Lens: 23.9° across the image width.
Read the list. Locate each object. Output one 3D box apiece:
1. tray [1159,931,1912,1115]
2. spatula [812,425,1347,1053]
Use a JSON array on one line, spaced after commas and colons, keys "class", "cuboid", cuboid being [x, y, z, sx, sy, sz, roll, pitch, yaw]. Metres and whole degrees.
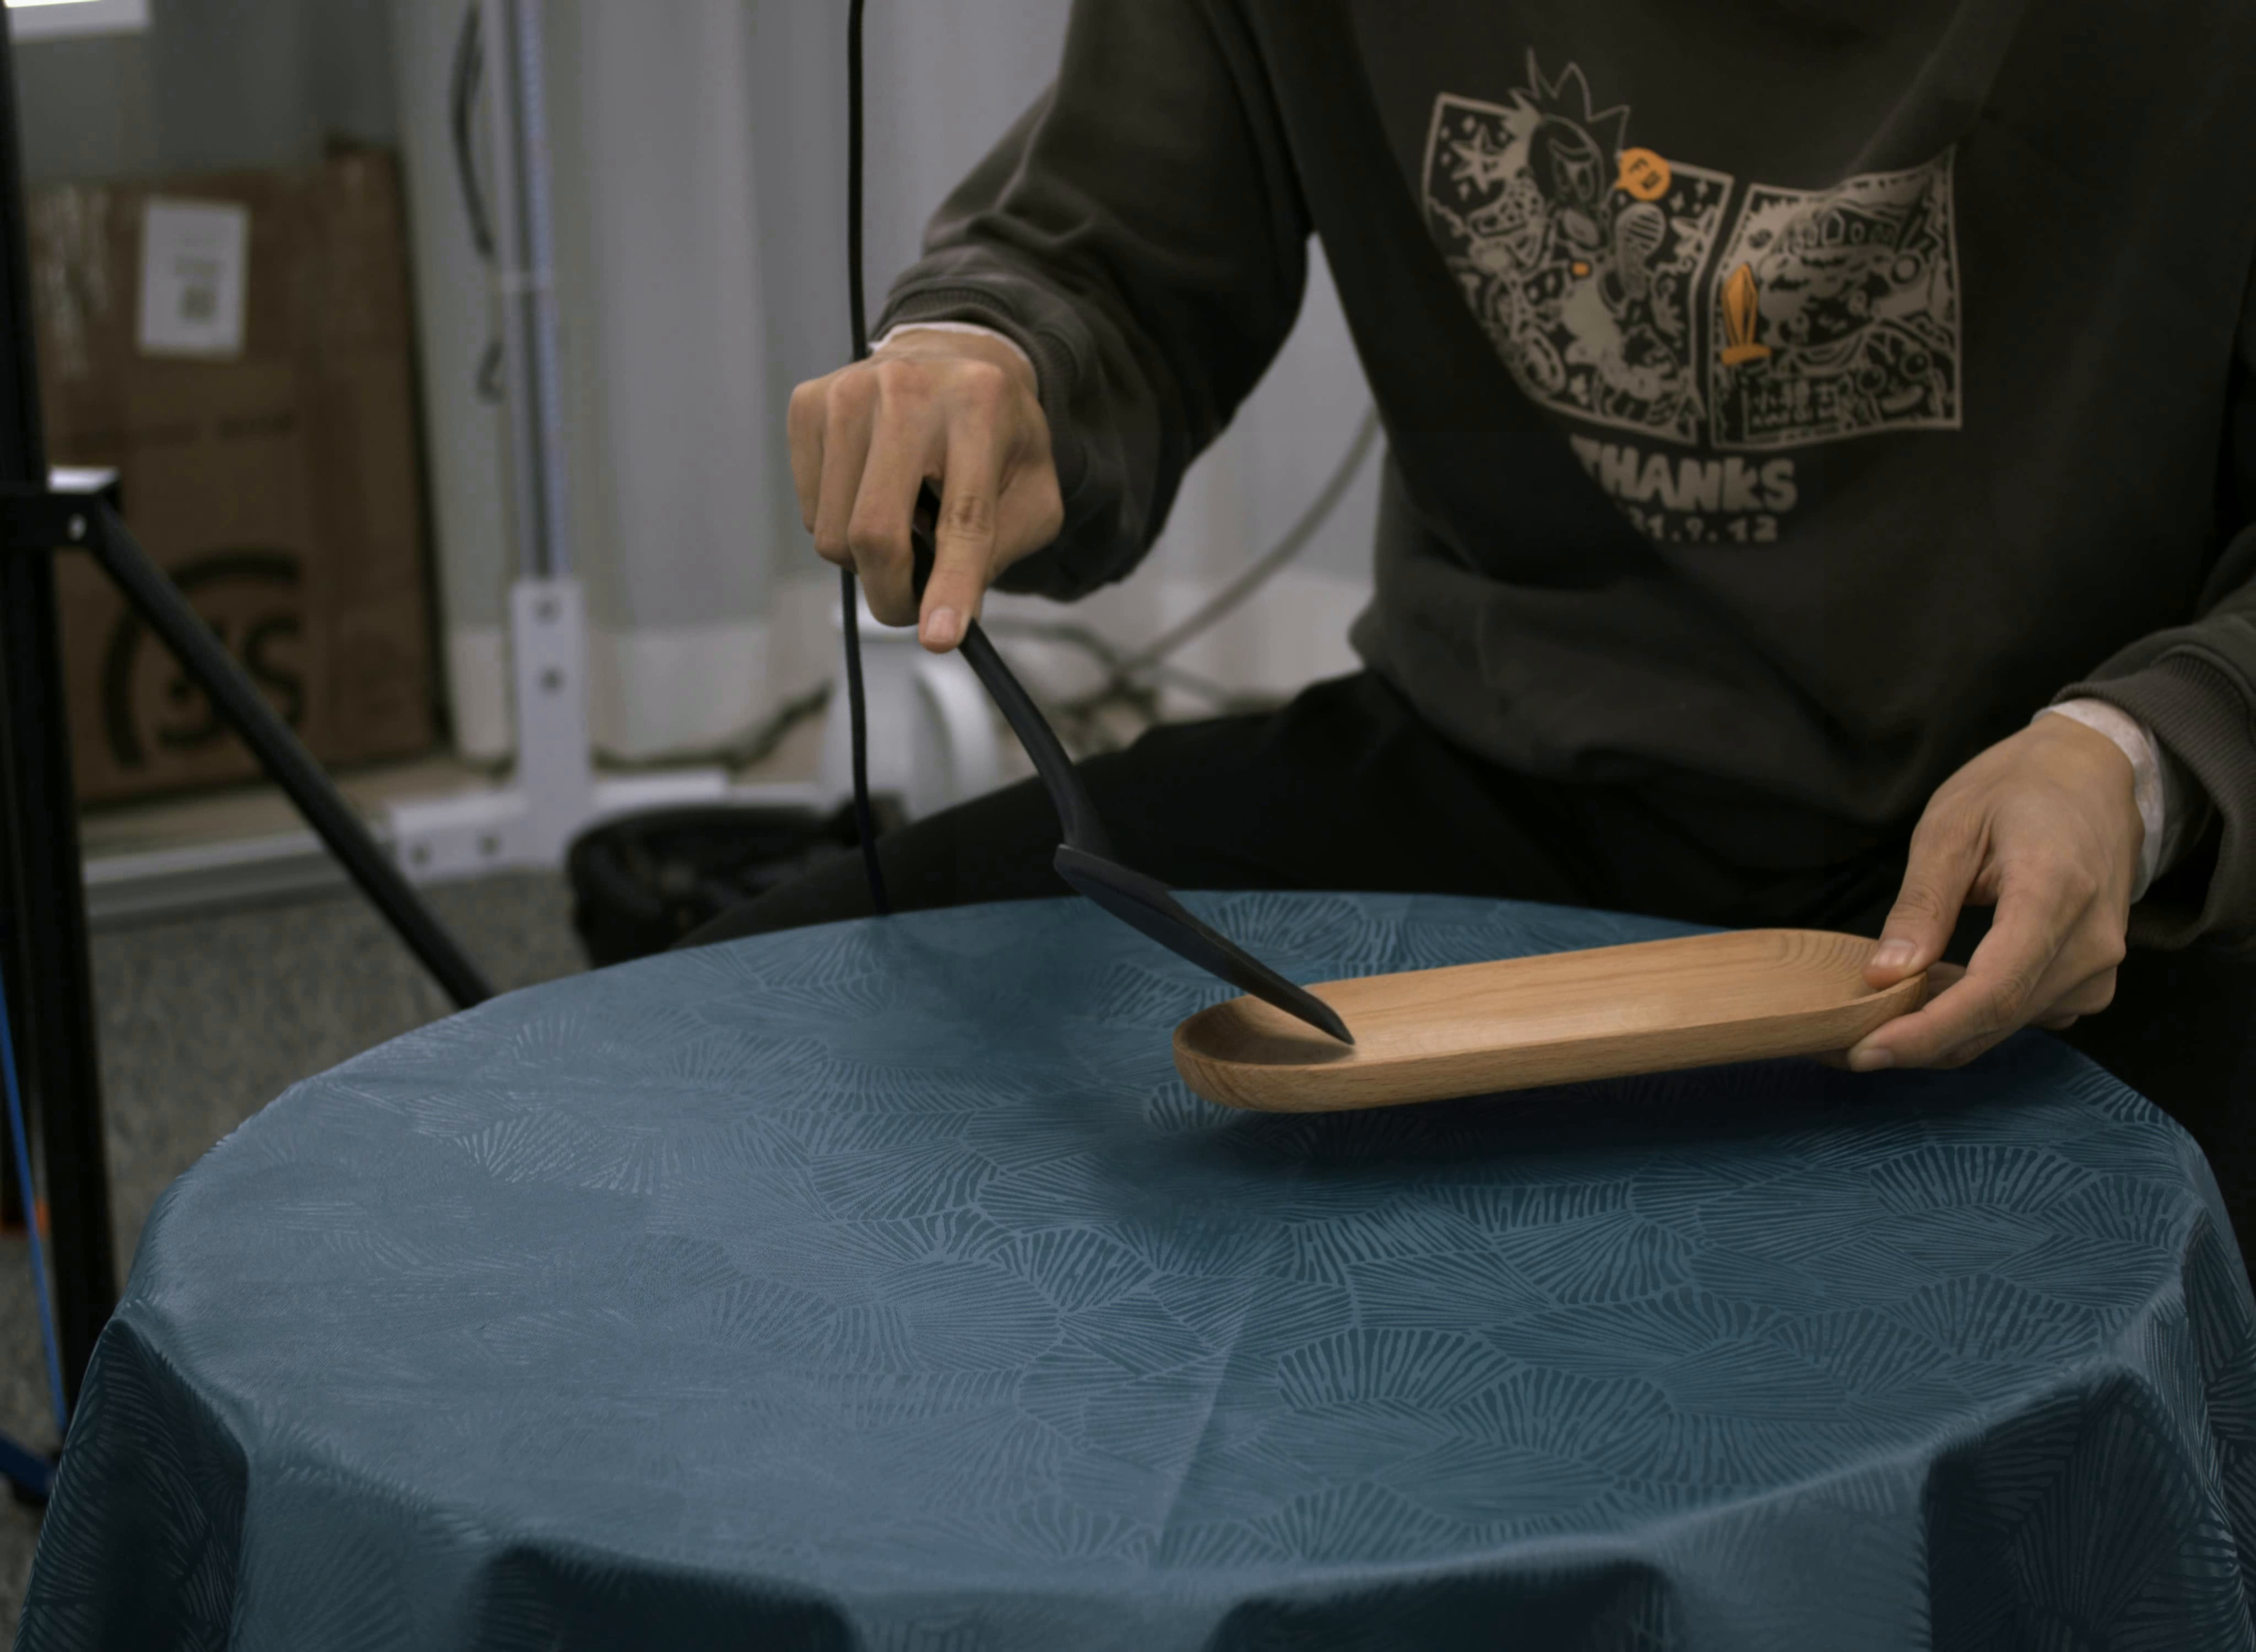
[{"class": "tray", "cuboid": [0.124, 0.060, 1.602, 0.229, 0.020, 0.102, -8, 12, -6]}, {"class": "spatula", "cuboid": [-0.031, -0.039, 1.676, 0.097, 0.040, 0.333, 39, 14, -44]}]
